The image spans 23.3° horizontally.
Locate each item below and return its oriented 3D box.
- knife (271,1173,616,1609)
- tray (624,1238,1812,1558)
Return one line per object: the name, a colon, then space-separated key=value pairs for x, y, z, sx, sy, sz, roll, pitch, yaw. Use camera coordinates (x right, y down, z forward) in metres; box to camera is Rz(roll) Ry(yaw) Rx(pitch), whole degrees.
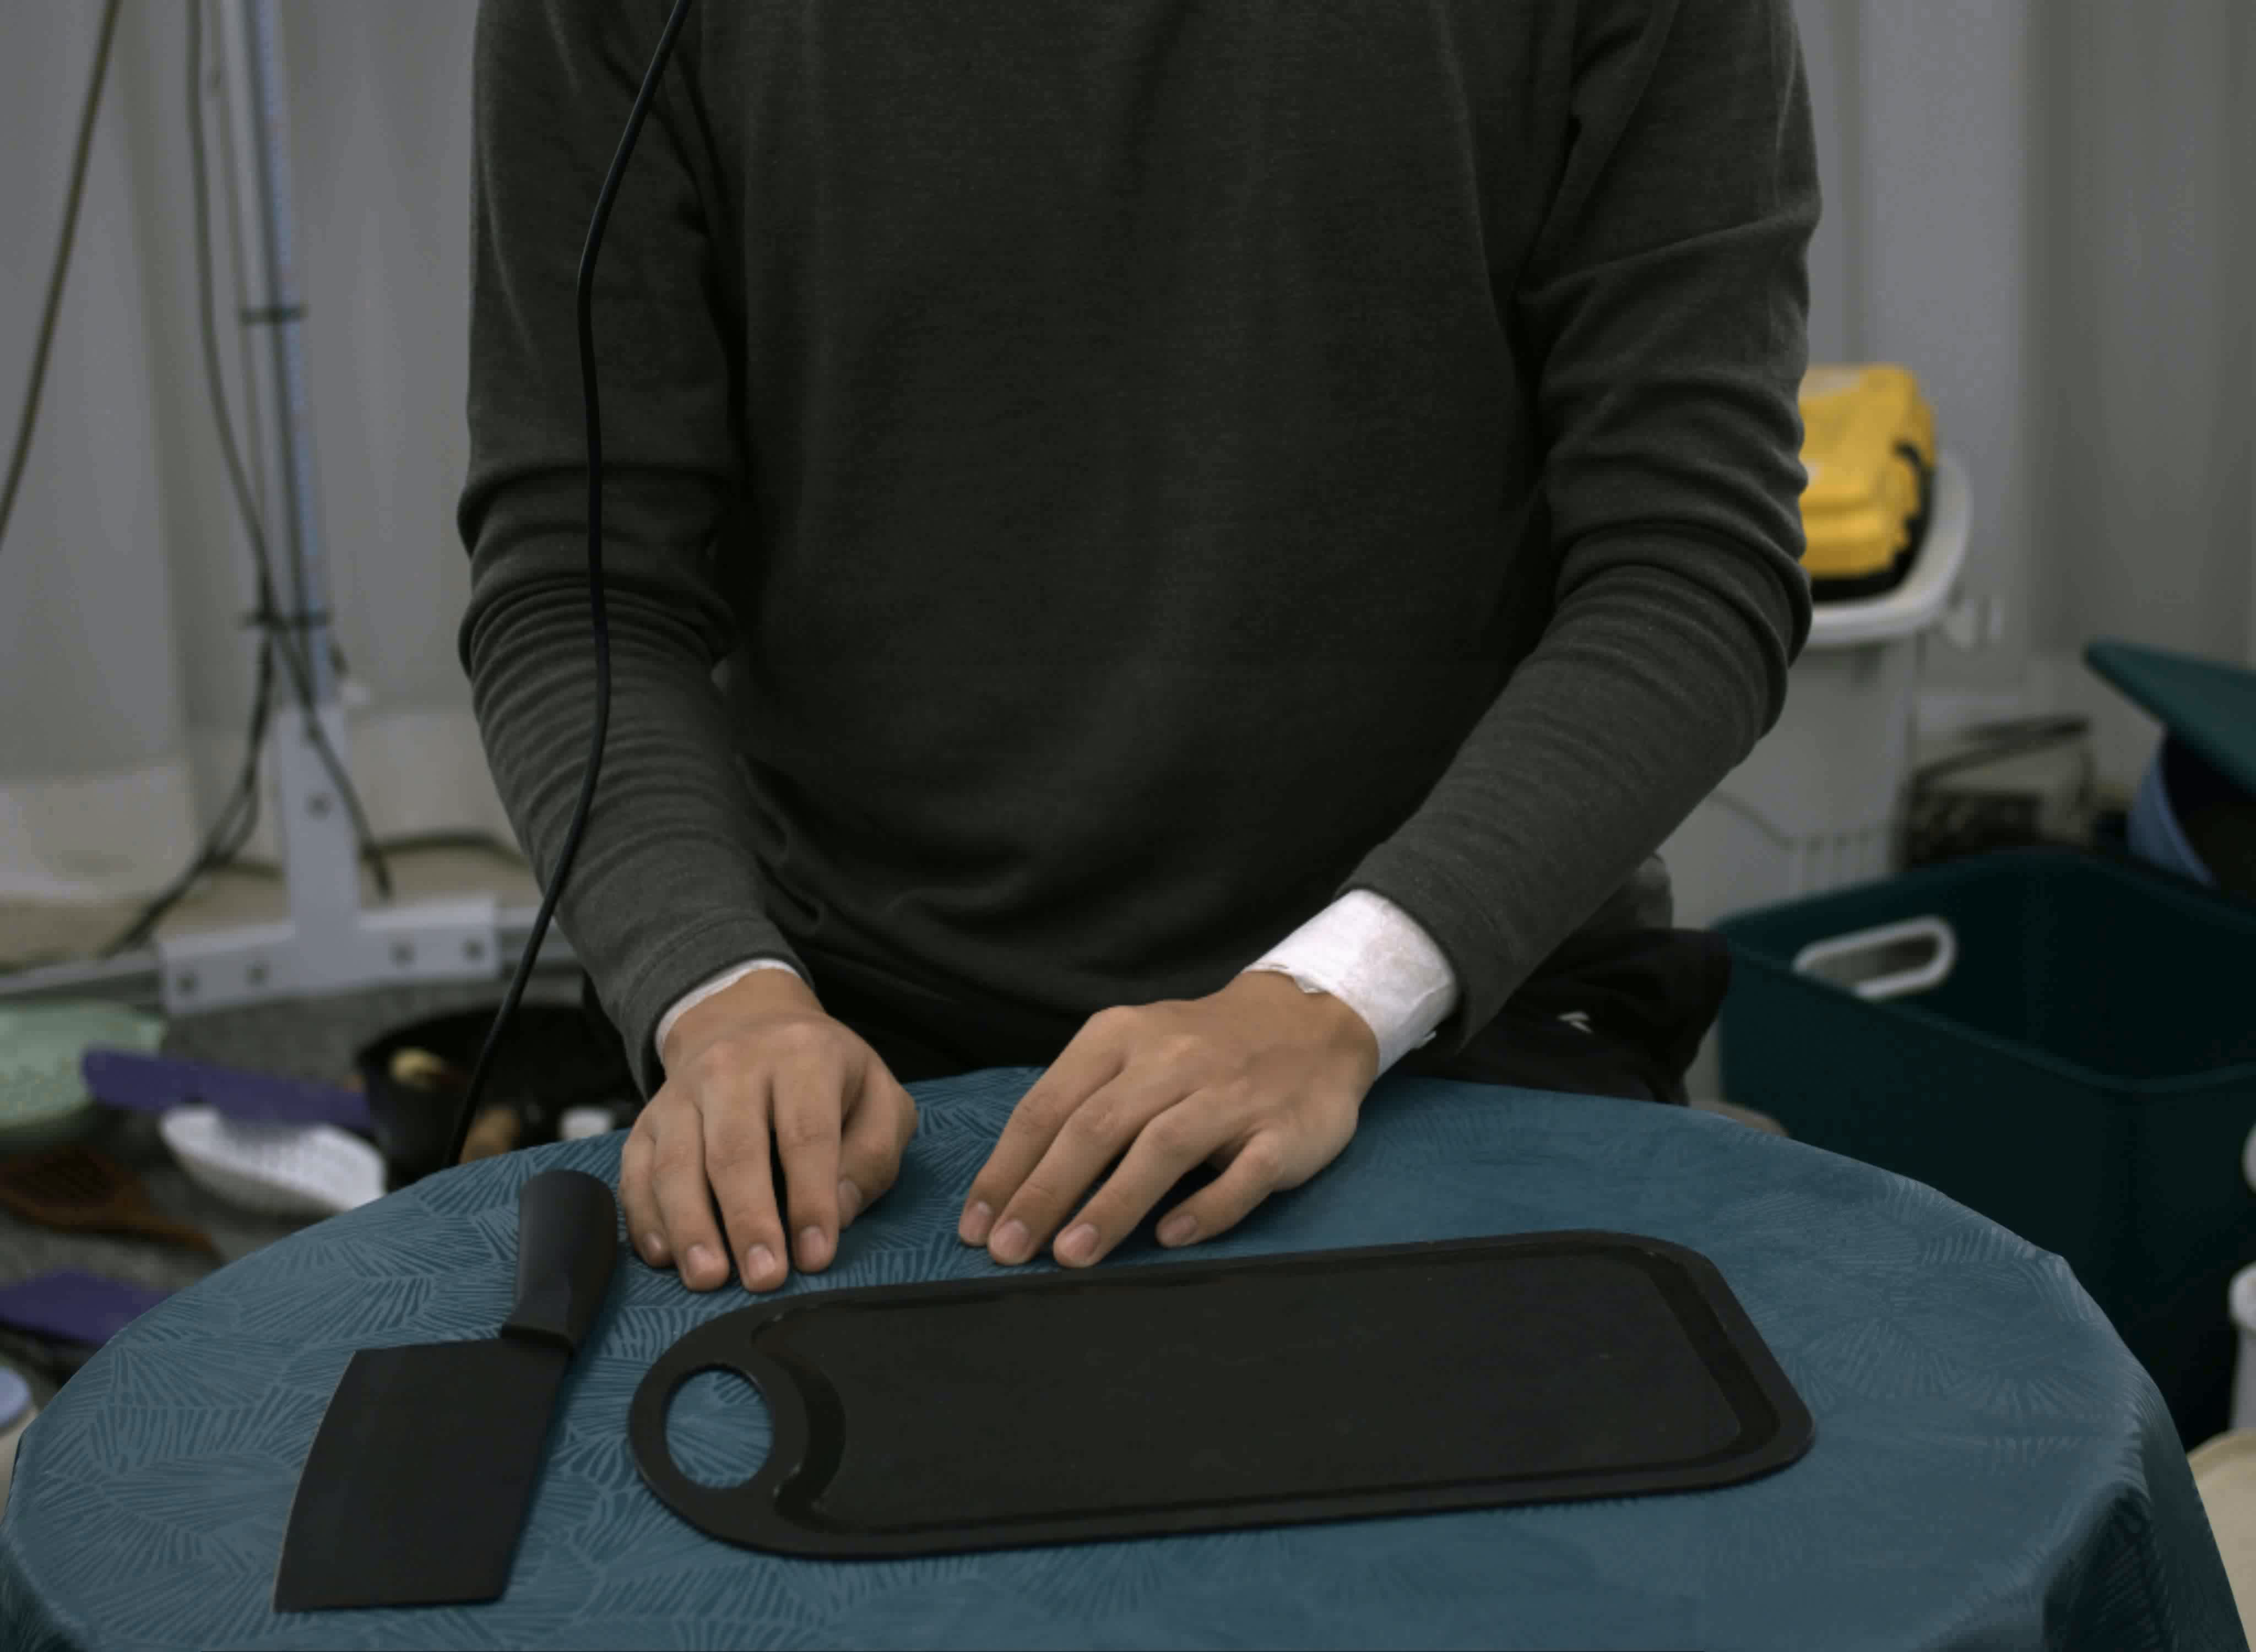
knife: x=-0.189 y=0.159 z=1.560 sx=0.081 sy=0.021 sz=0.304 roll=-2 pitch=16 yaw=6
tray: x=0.020 y=0.158 z=1.539 sx=0.324 sy=0.010 sz=0.212 roll=-4 pitch=14 yaw=-4
